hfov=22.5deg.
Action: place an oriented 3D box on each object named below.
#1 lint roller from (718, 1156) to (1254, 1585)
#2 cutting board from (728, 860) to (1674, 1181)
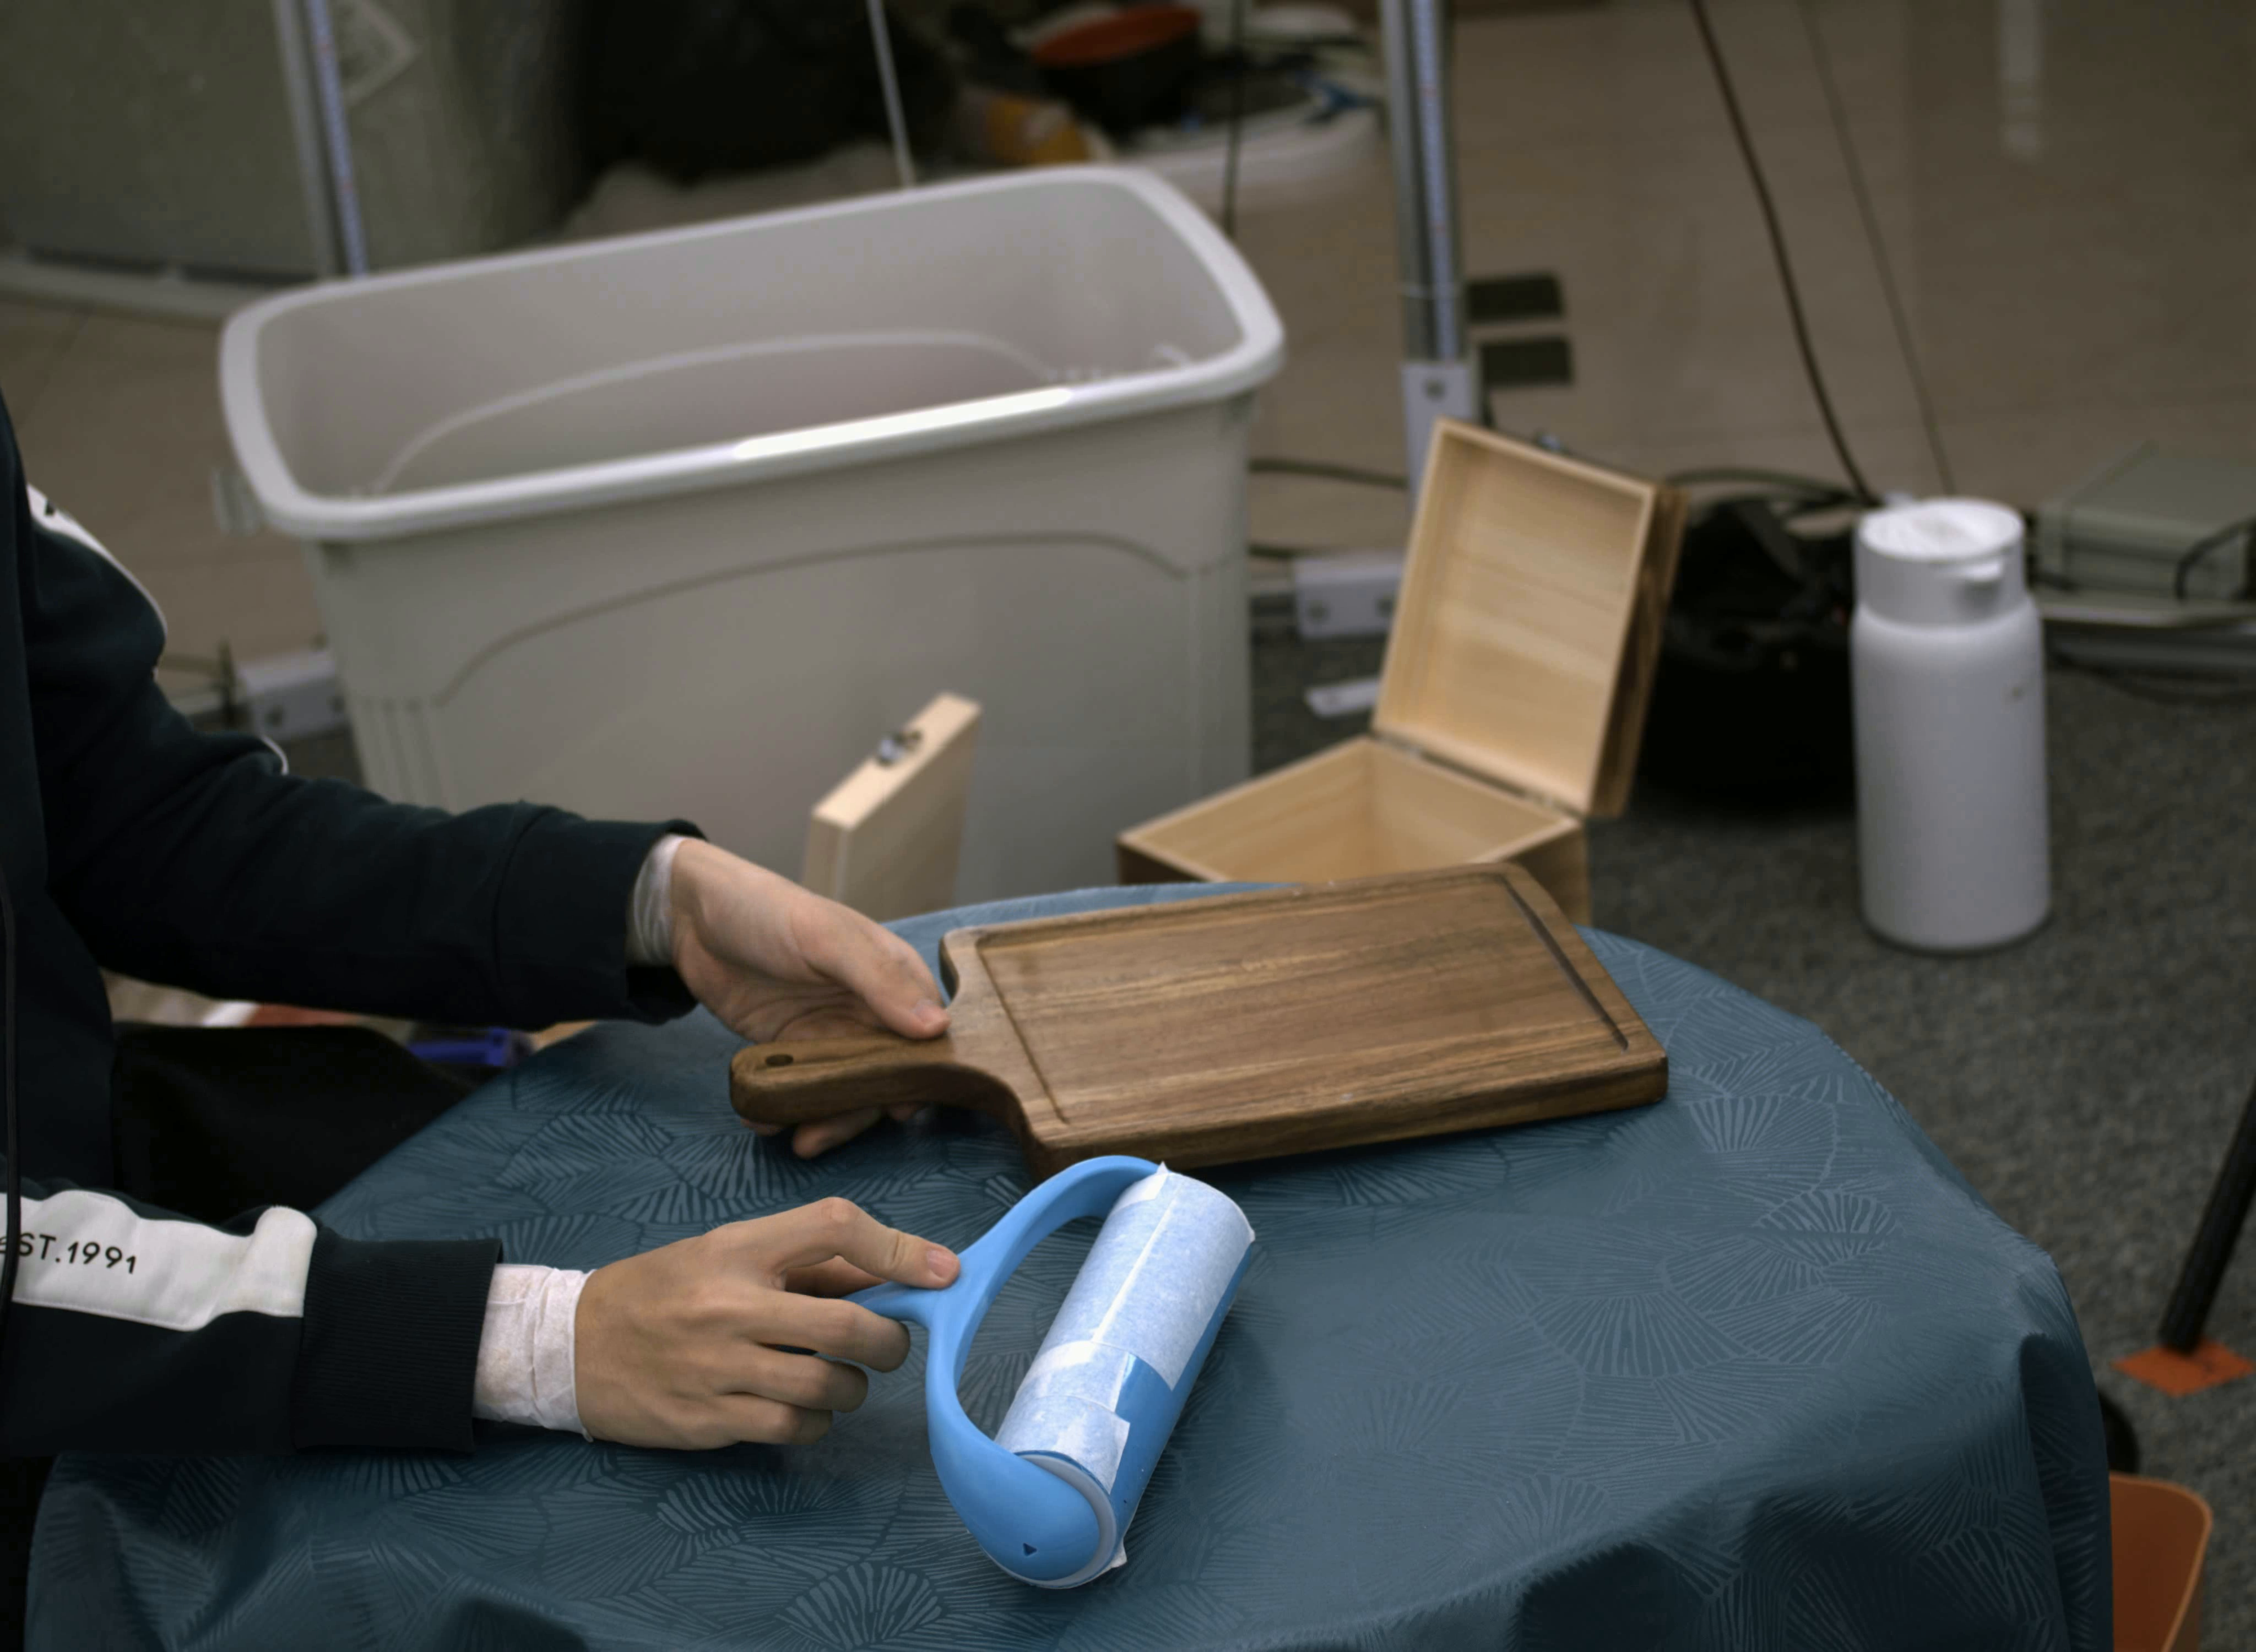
[{"bbox_3d":[-0.061,0.188,1.985,0.180,0.069,0.225,1,28,13],"label":"lint roller"},{"bbox_3d":[0.017,0.079,2.212,0.351,0.023,0.198,-7,25,-12],"label":"cutting board"}]
